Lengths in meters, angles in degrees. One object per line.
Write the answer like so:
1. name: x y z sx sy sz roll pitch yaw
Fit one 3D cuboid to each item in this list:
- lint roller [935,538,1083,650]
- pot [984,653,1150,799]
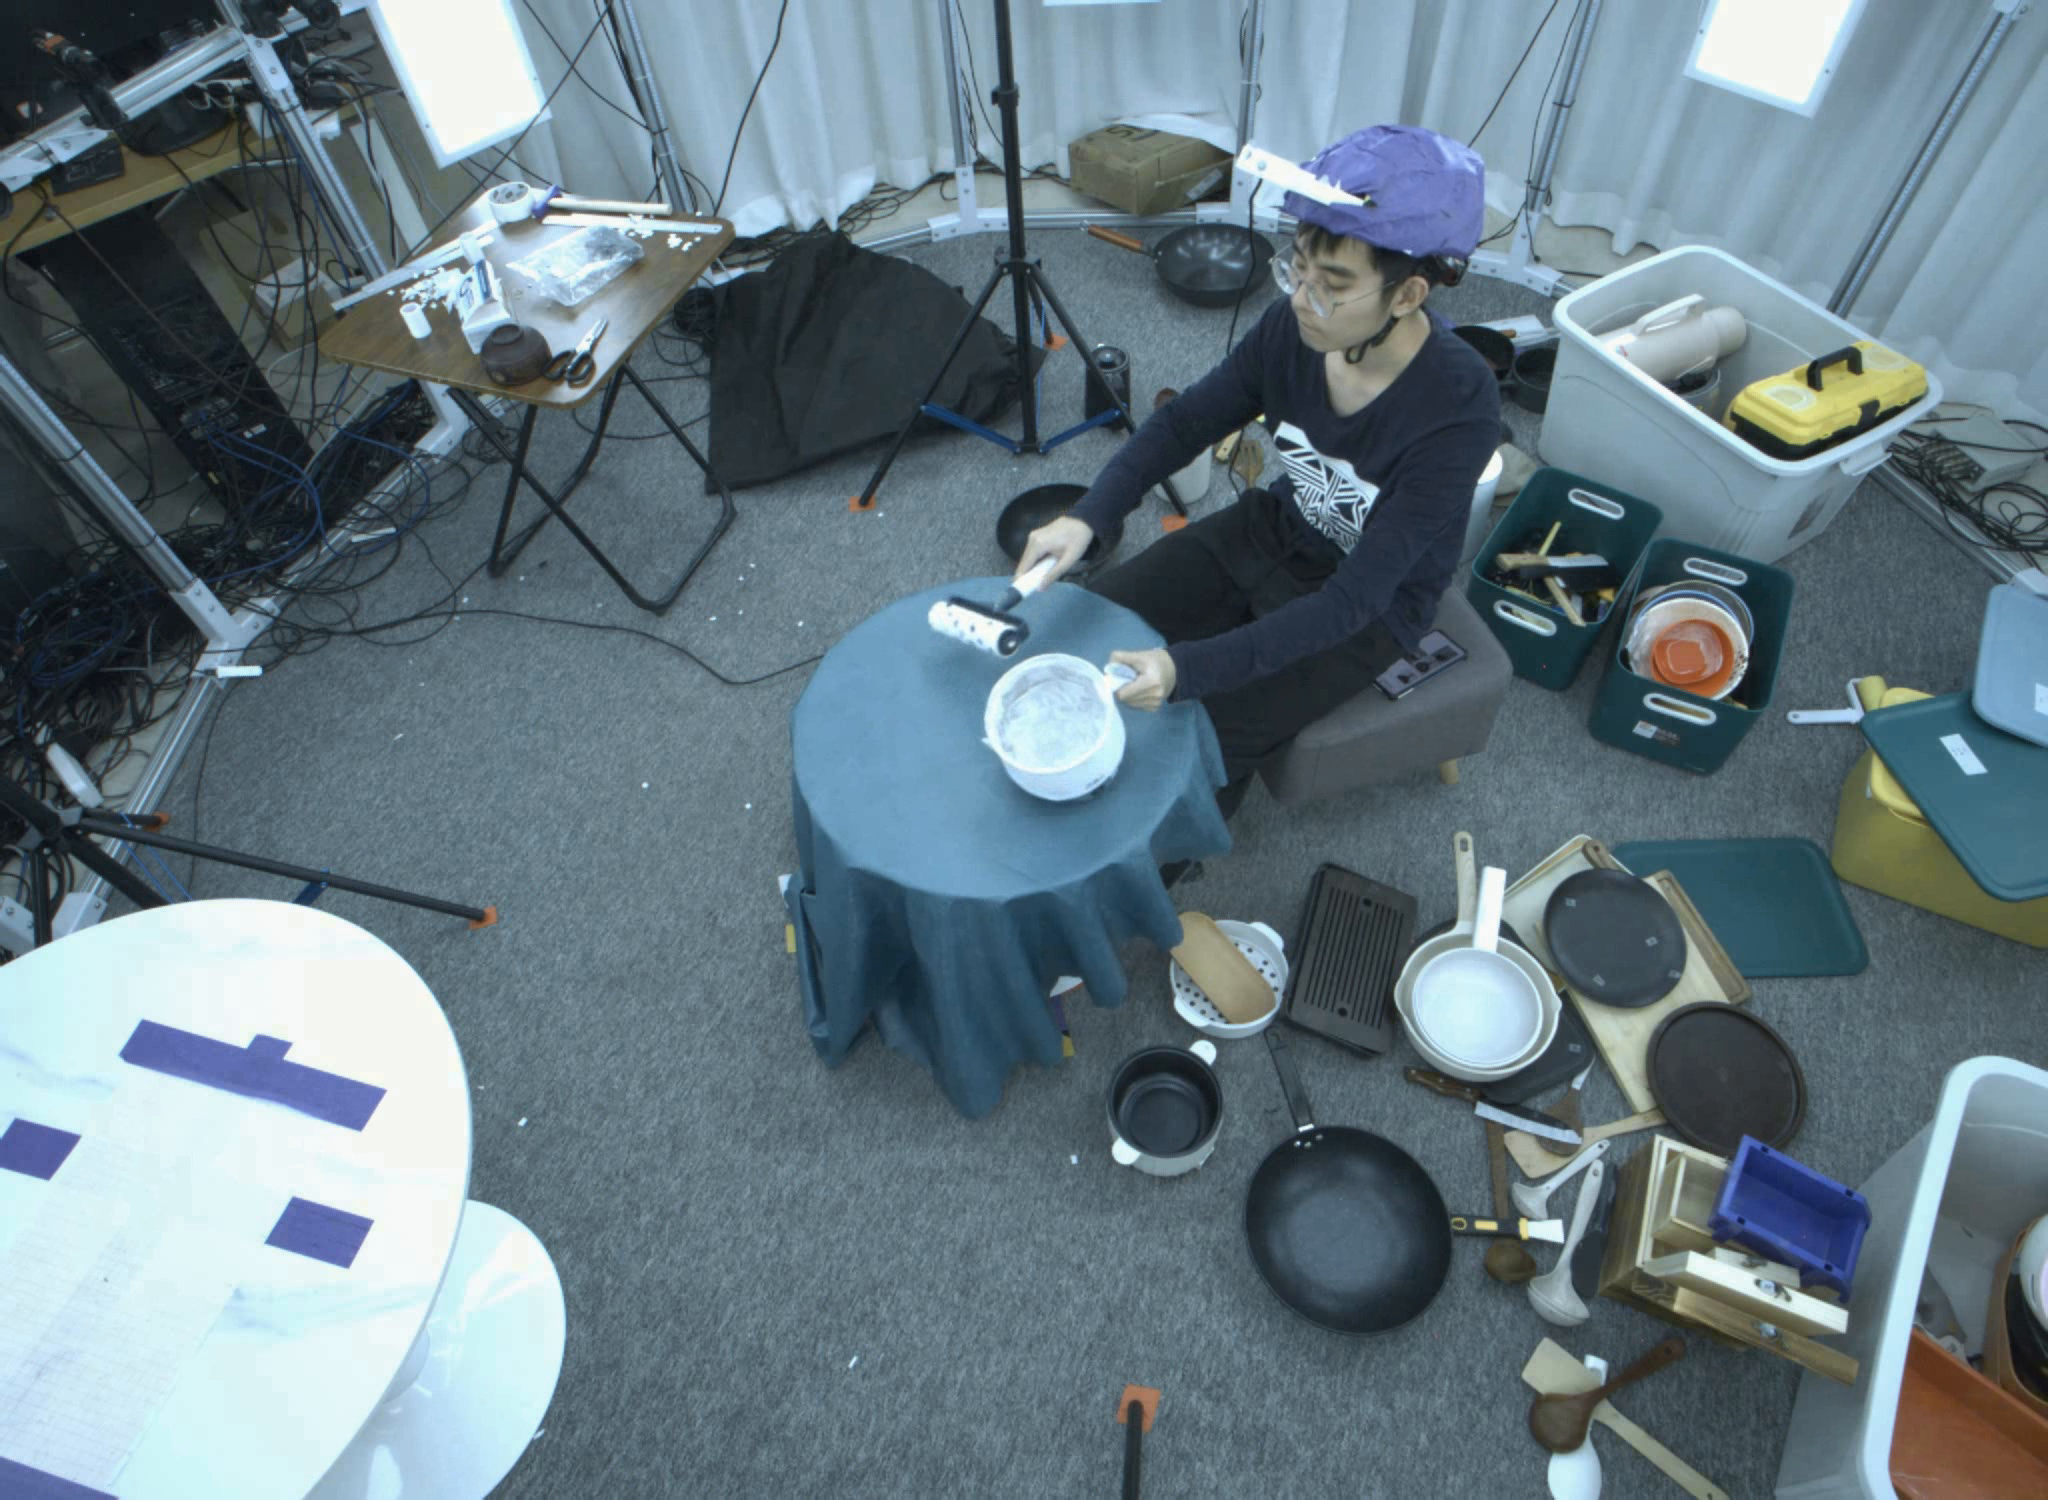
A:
1. lint roller: -0.001 -0.250 1.844 0.172 0.051 0.248 21 57 43
2. pot: 0.068 -0.044 1.702 0.234 0.138 0.176 -36 70 -2
